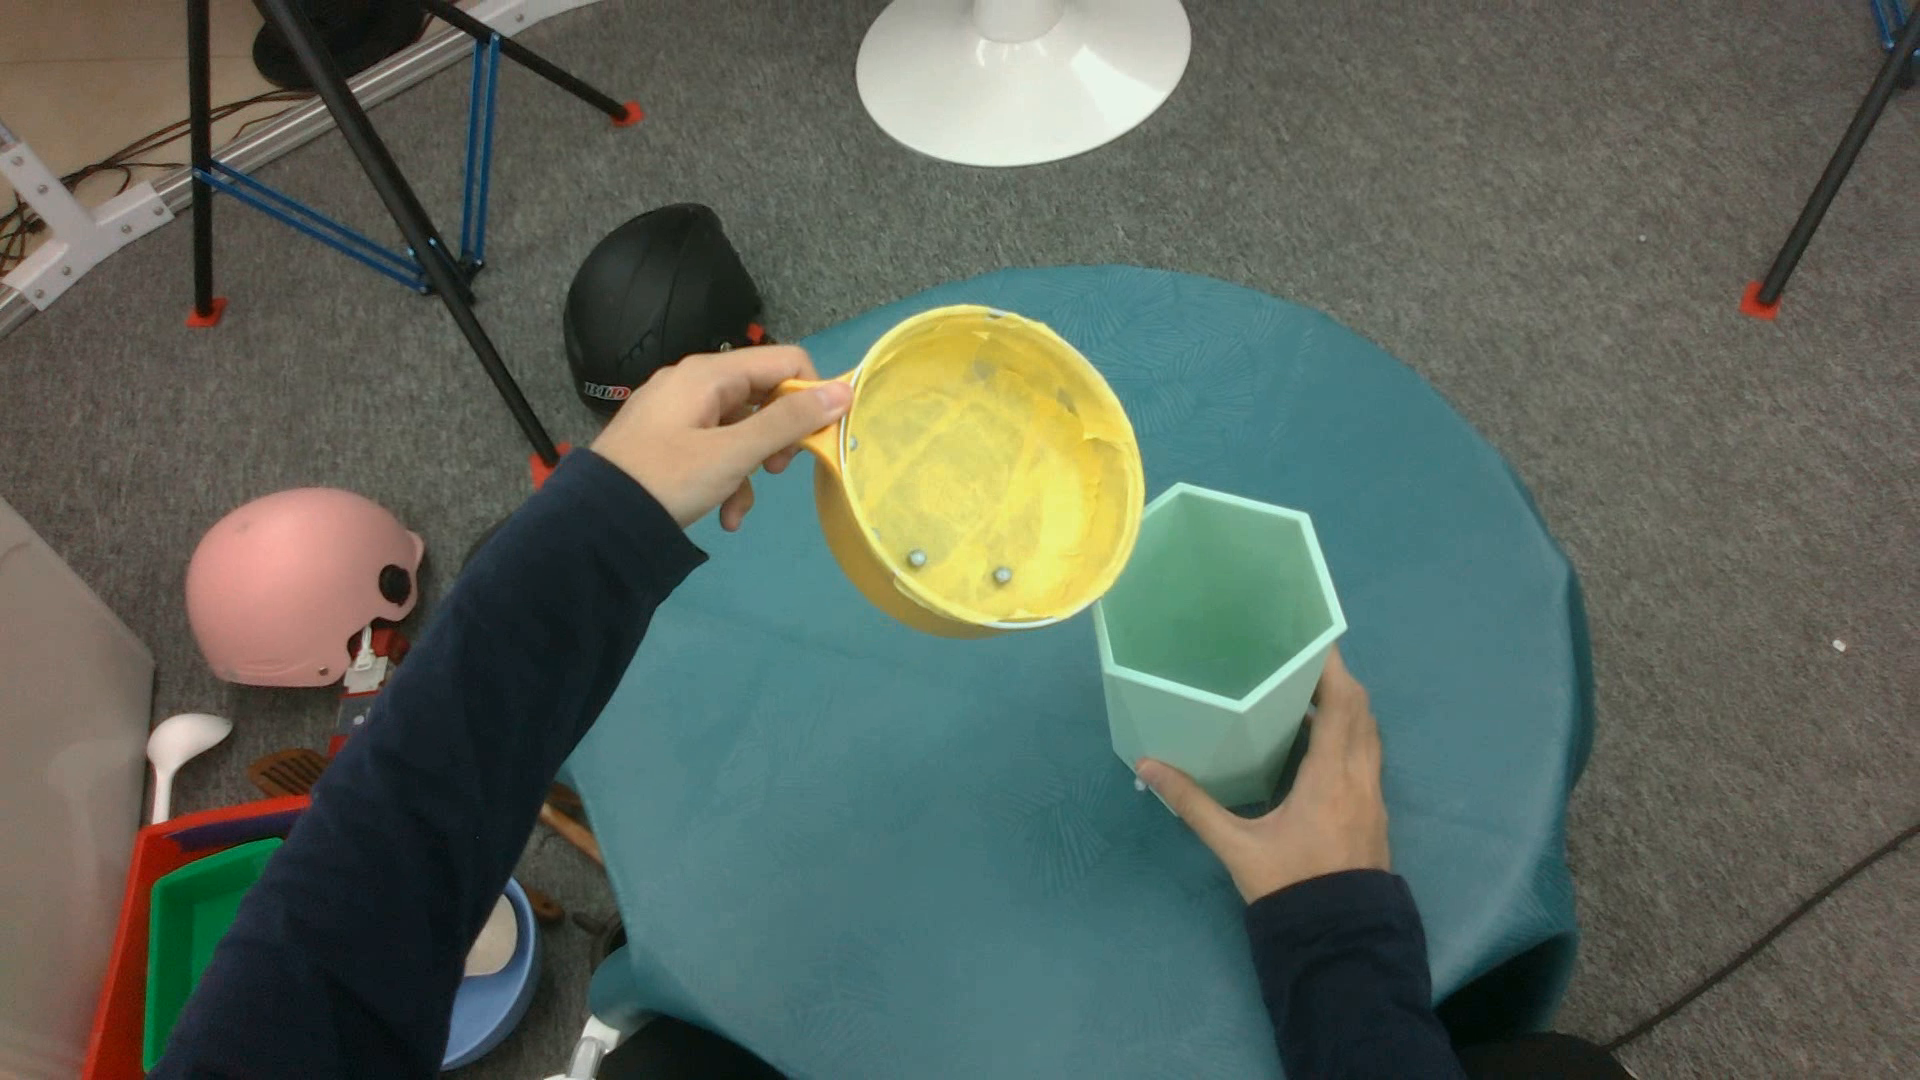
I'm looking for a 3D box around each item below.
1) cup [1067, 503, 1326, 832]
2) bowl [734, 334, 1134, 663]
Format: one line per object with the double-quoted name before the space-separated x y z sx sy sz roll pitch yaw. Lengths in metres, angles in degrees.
"cup" 0.125 0.077 0.734 0.131 0.162 0.115 13 59 18
"bowl" -0.011 -0.020 0.652 0.179 0.074 0.153 12 71 -24
